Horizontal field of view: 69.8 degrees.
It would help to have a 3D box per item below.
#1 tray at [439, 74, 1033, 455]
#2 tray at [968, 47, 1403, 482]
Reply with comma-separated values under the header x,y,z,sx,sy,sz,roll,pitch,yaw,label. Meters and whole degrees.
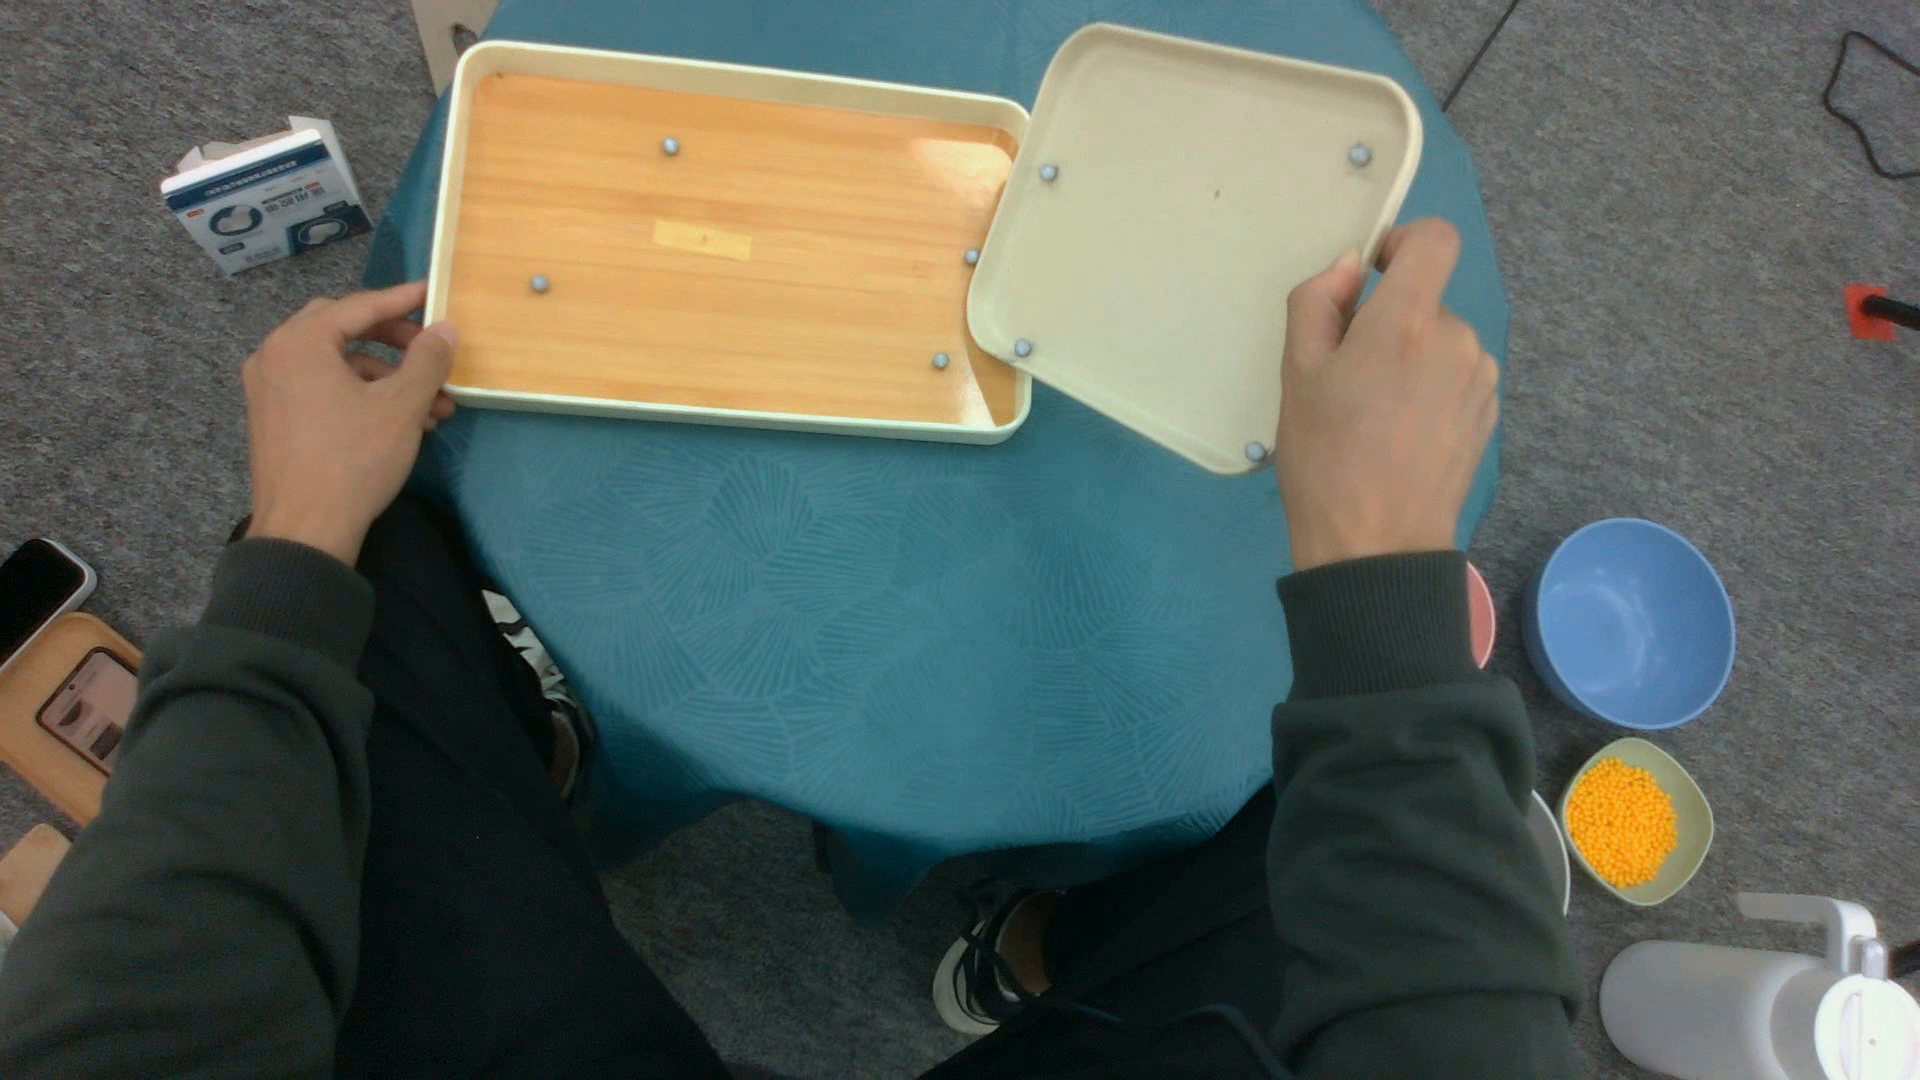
x,y,z,sx,sy,sz,roll,pitch,yaw,label
-0.111,-0.145,0.731,0.300,0.027,0.192,3,77,-8,tray
0.094,-0.137,0.651,0.017,0.240,0.171,10,107,-38,tray
